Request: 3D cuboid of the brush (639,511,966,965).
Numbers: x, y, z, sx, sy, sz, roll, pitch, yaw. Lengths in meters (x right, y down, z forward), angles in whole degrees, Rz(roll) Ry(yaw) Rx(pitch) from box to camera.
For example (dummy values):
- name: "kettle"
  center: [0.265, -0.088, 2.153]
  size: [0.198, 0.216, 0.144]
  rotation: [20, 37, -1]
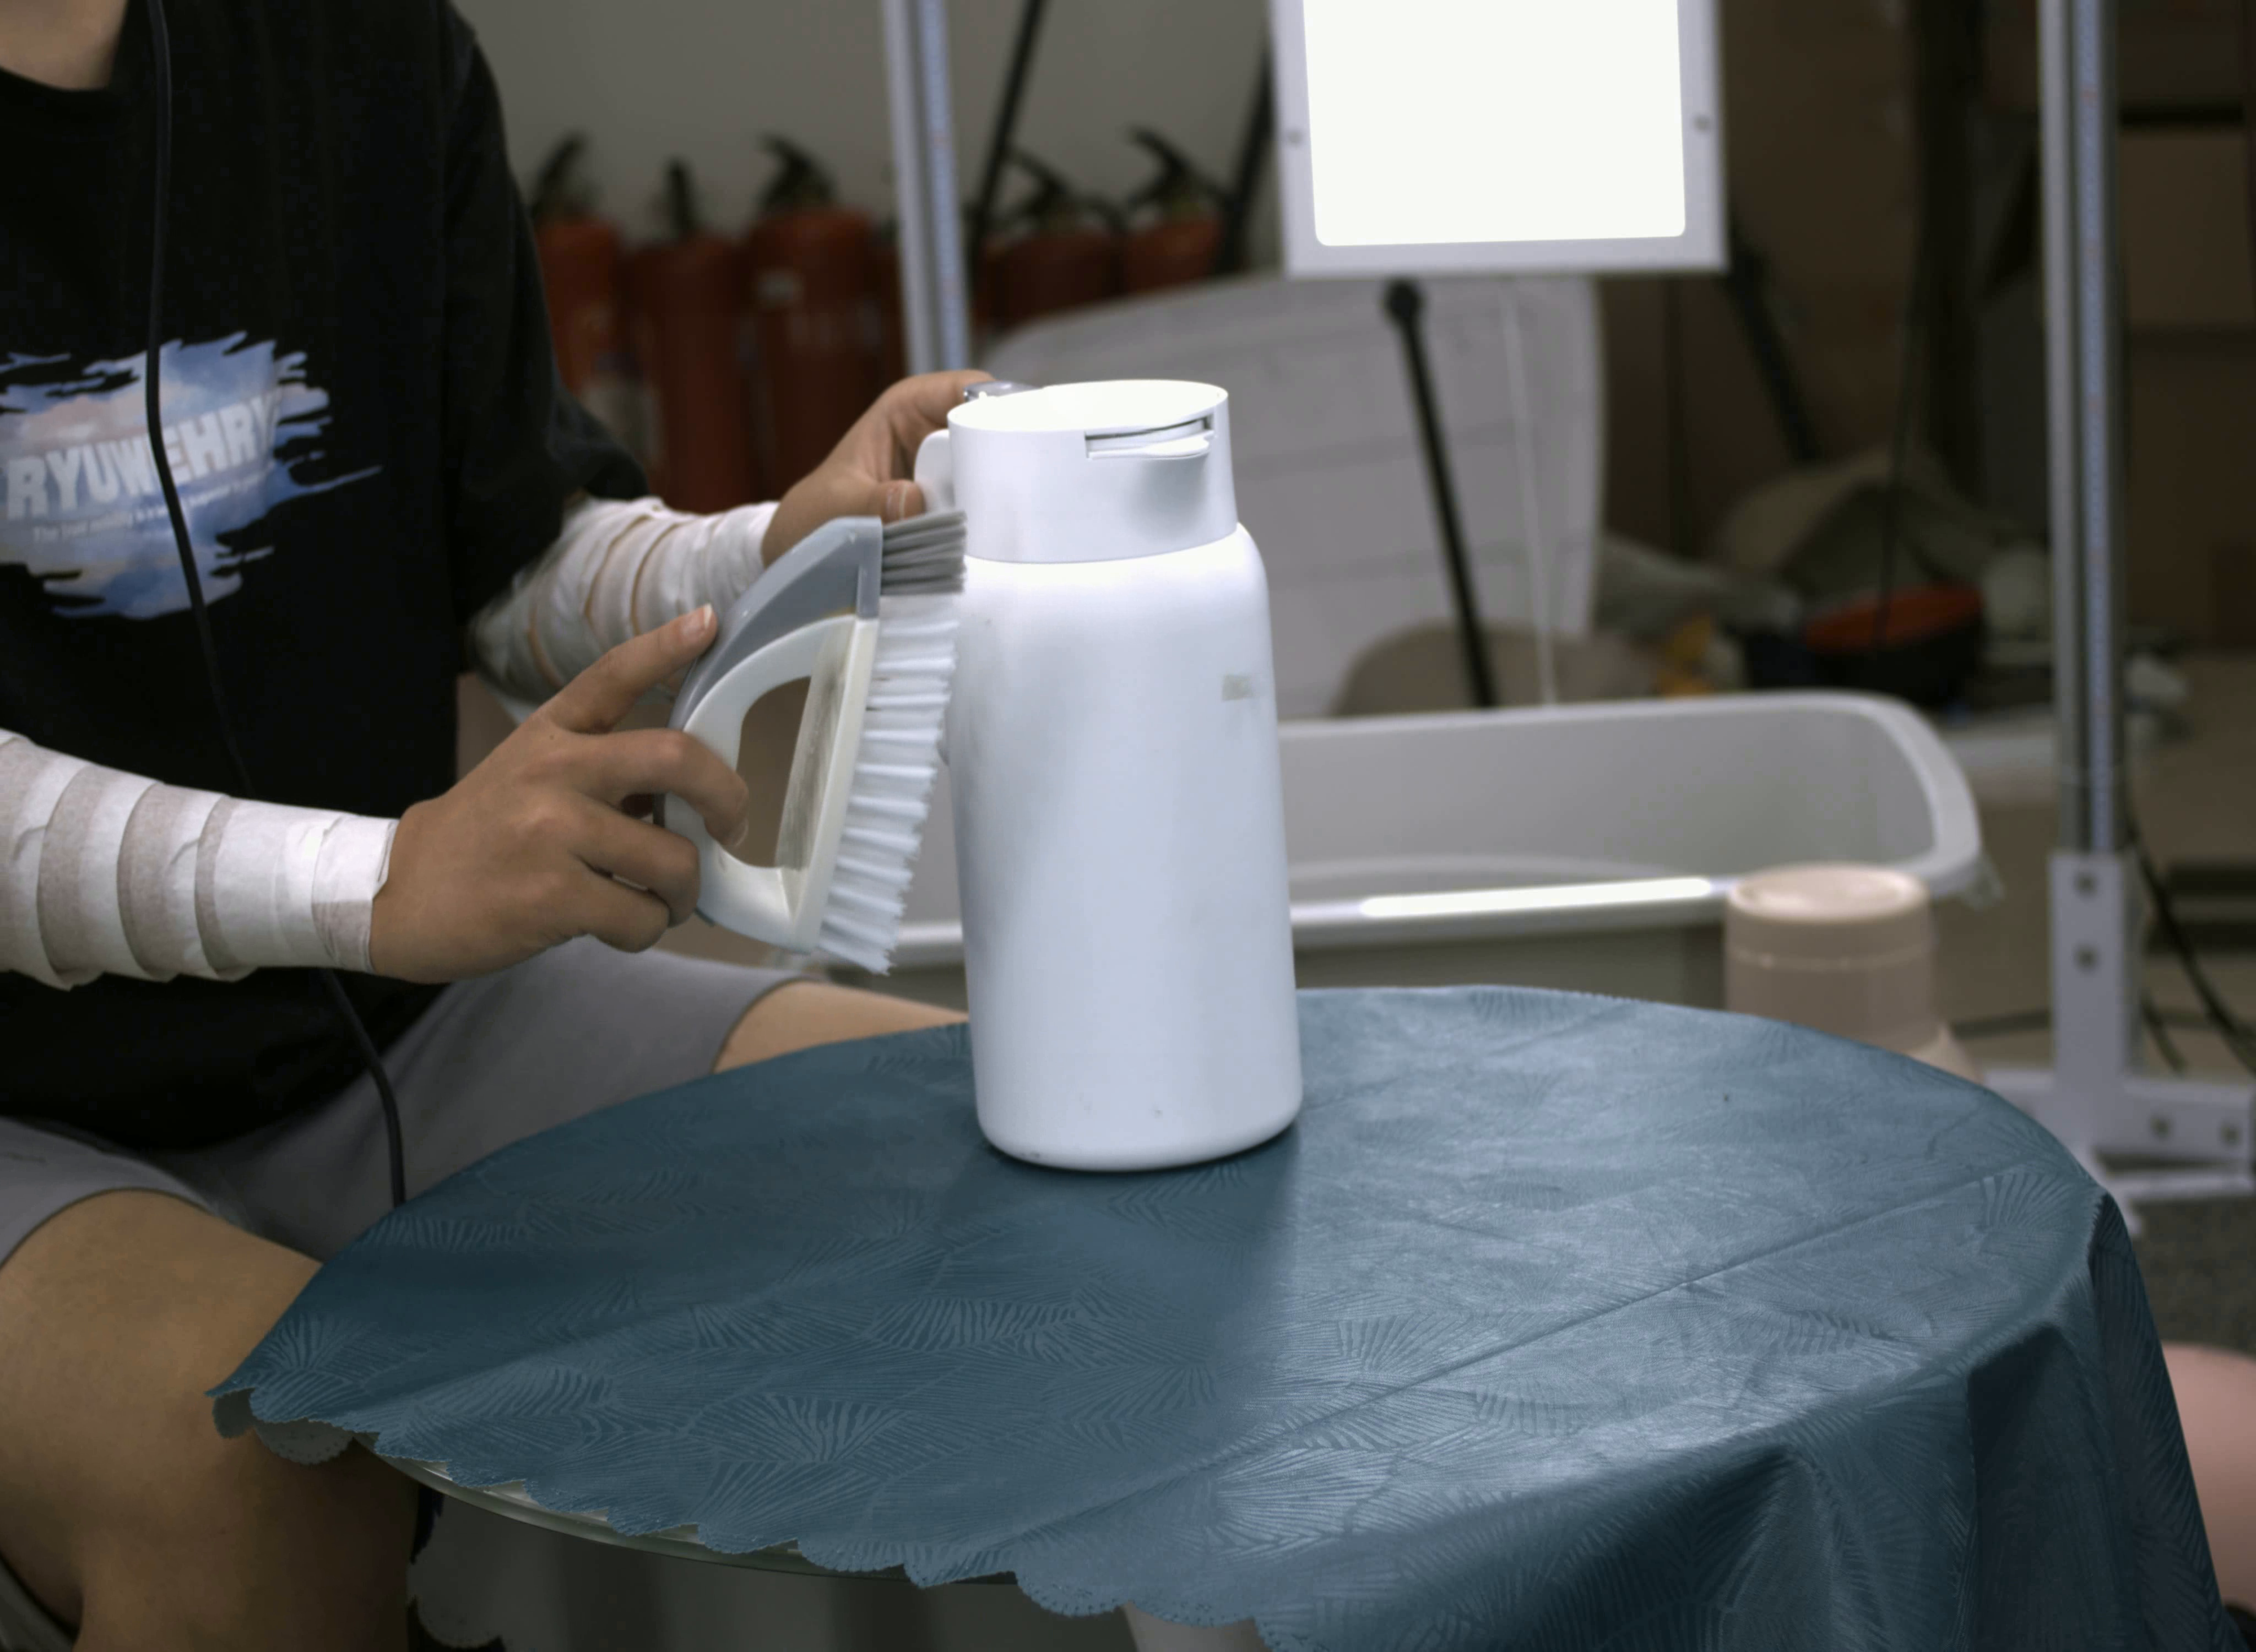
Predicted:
- name: "brush"
  center: [-0.113, -0.036, 1.869]
  size: [0.092, 0.177, 0.062]
  rotation: [5, 36, -18]

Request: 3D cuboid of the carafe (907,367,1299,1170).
- name: "carafe"
  center: [-0.016, -0.023, 1.951]
  size: [0.121, 0.270, 0.176]
  rotation: [-15, 17, -31]
